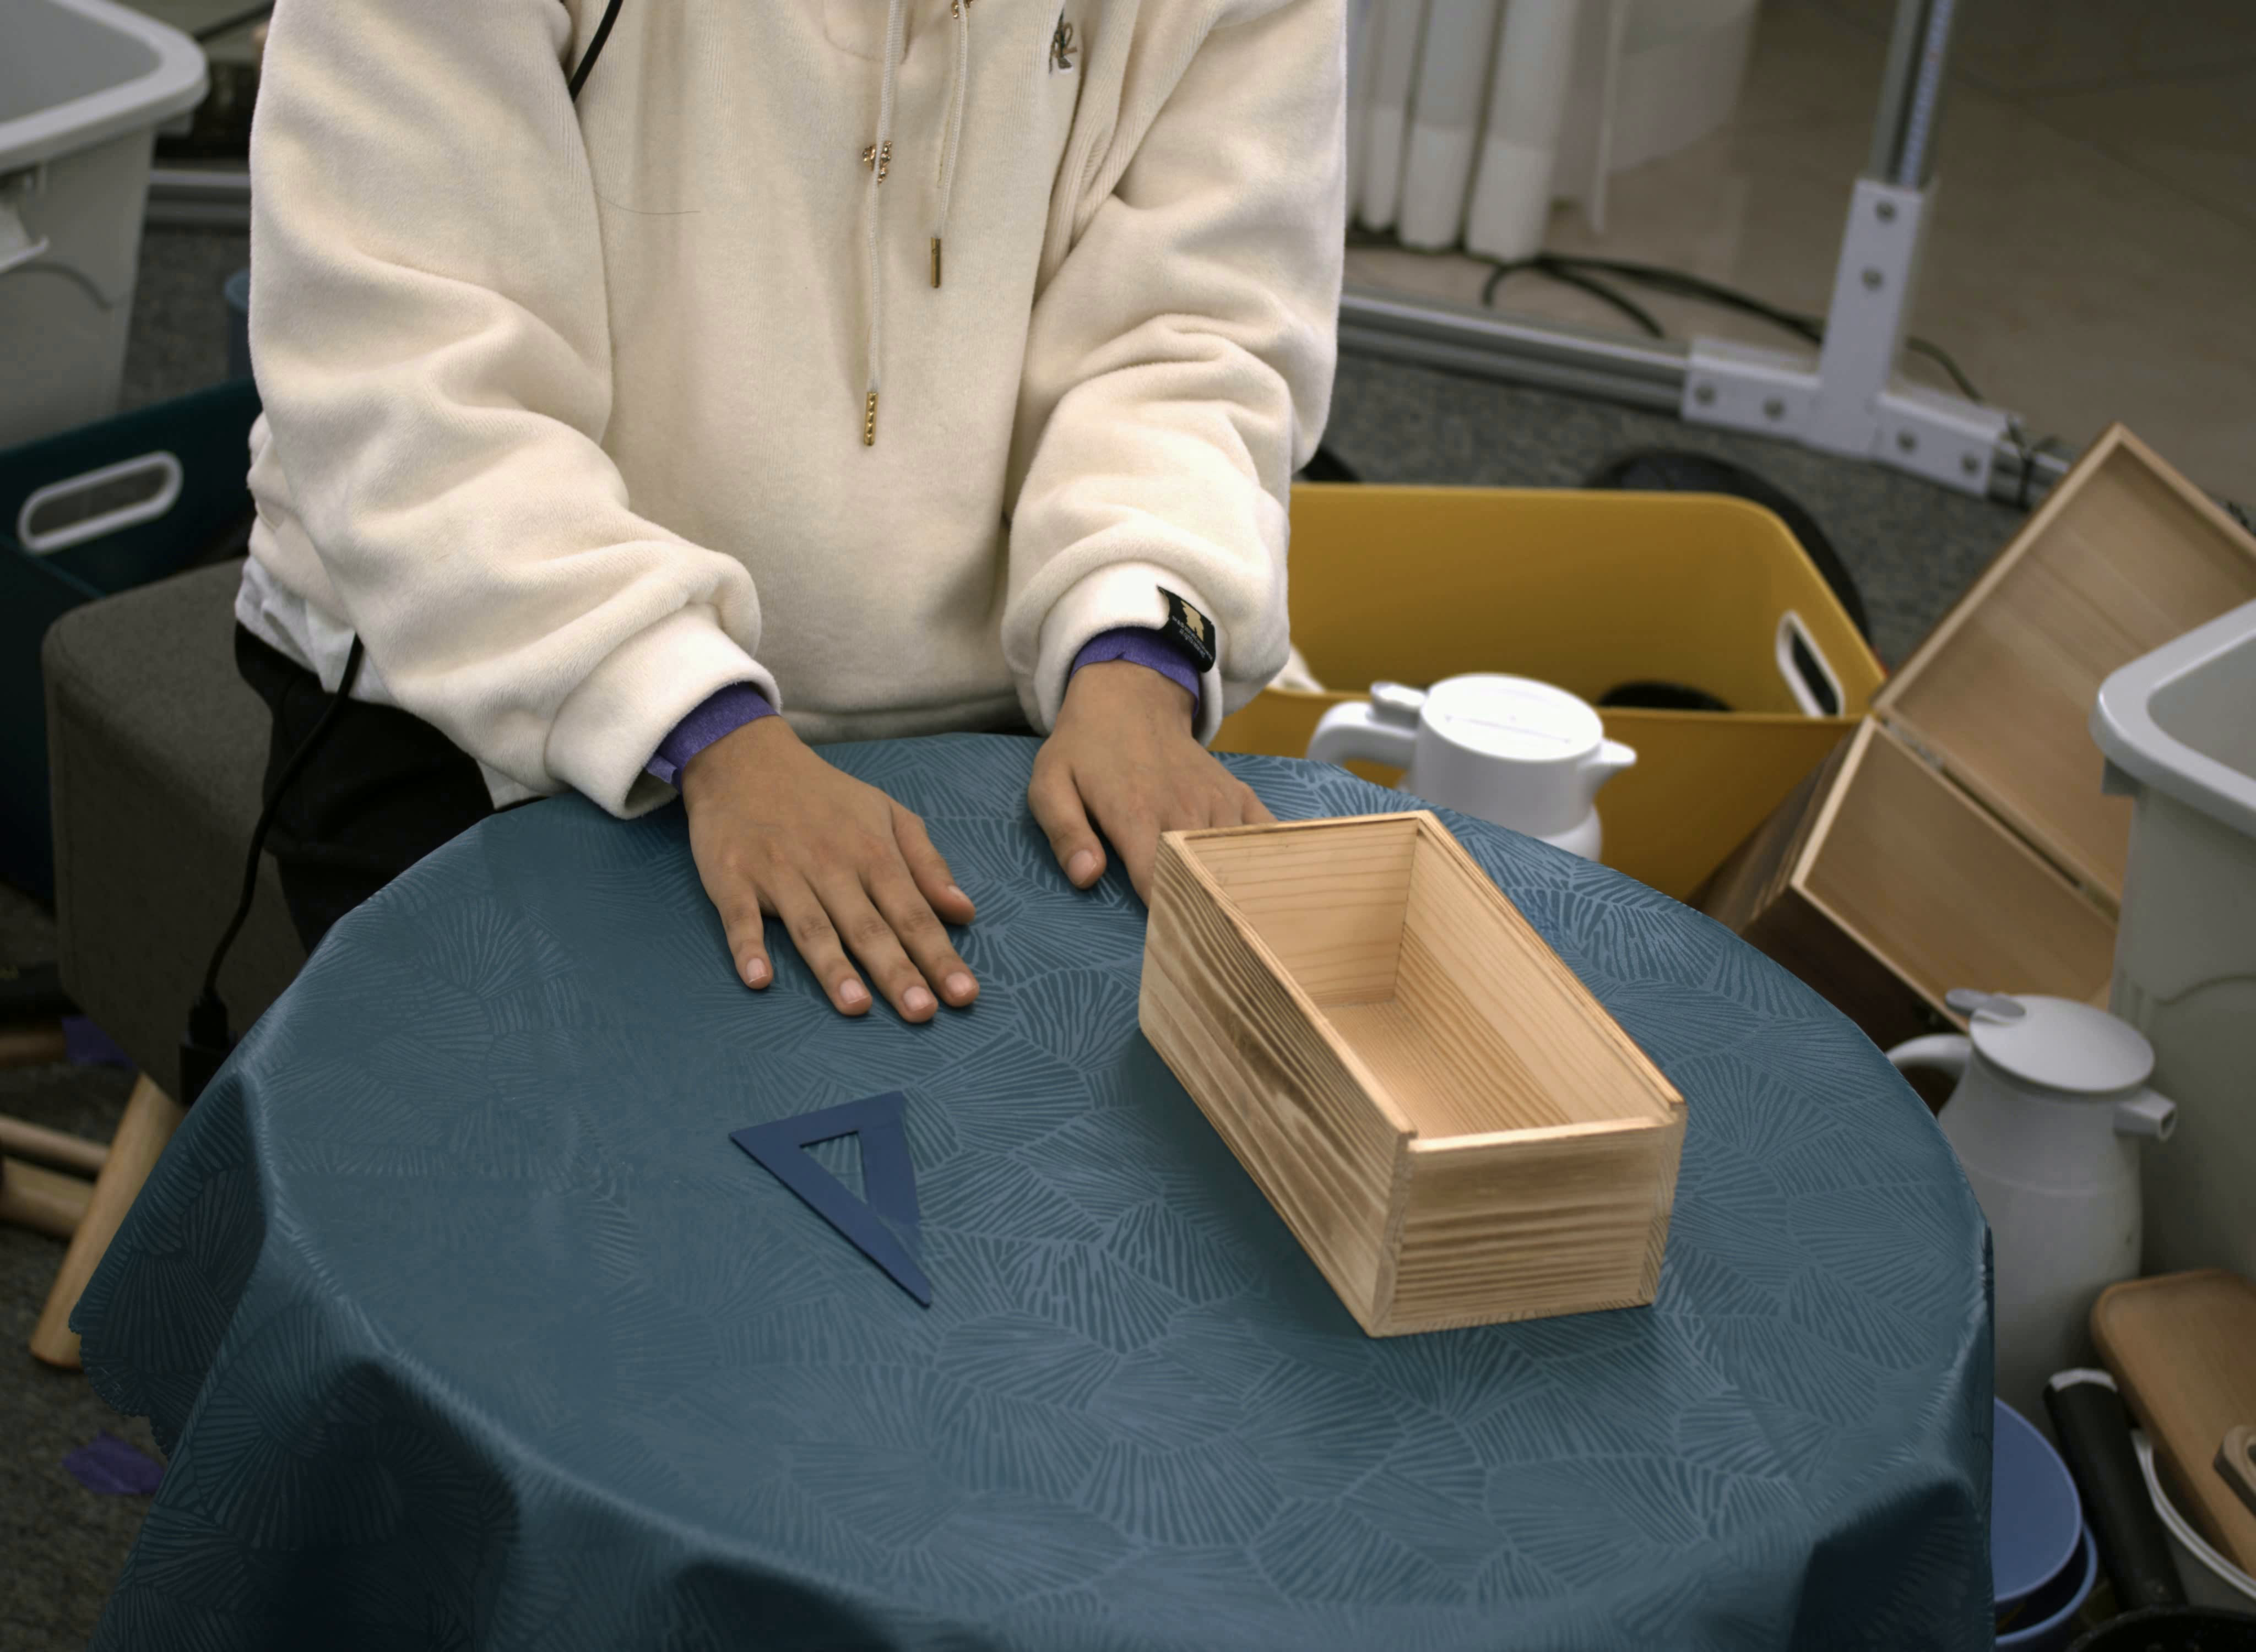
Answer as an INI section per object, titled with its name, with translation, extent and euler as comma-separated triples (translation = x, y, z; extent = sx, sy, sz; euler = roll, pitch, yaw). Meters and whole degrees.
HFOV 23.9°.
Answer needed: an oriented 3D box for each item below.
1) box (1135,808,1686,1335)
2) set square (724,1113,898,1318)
[box]
translation = 0.092, 0.080, 1.821
extent = 0.107, 0.080, 0.213
euler = -4, 29, -22
[set square]
translation = -0.106, 0.125, 1.770
extent = 0.061, 0.006, 0.133
euler = 6, 27, -4
